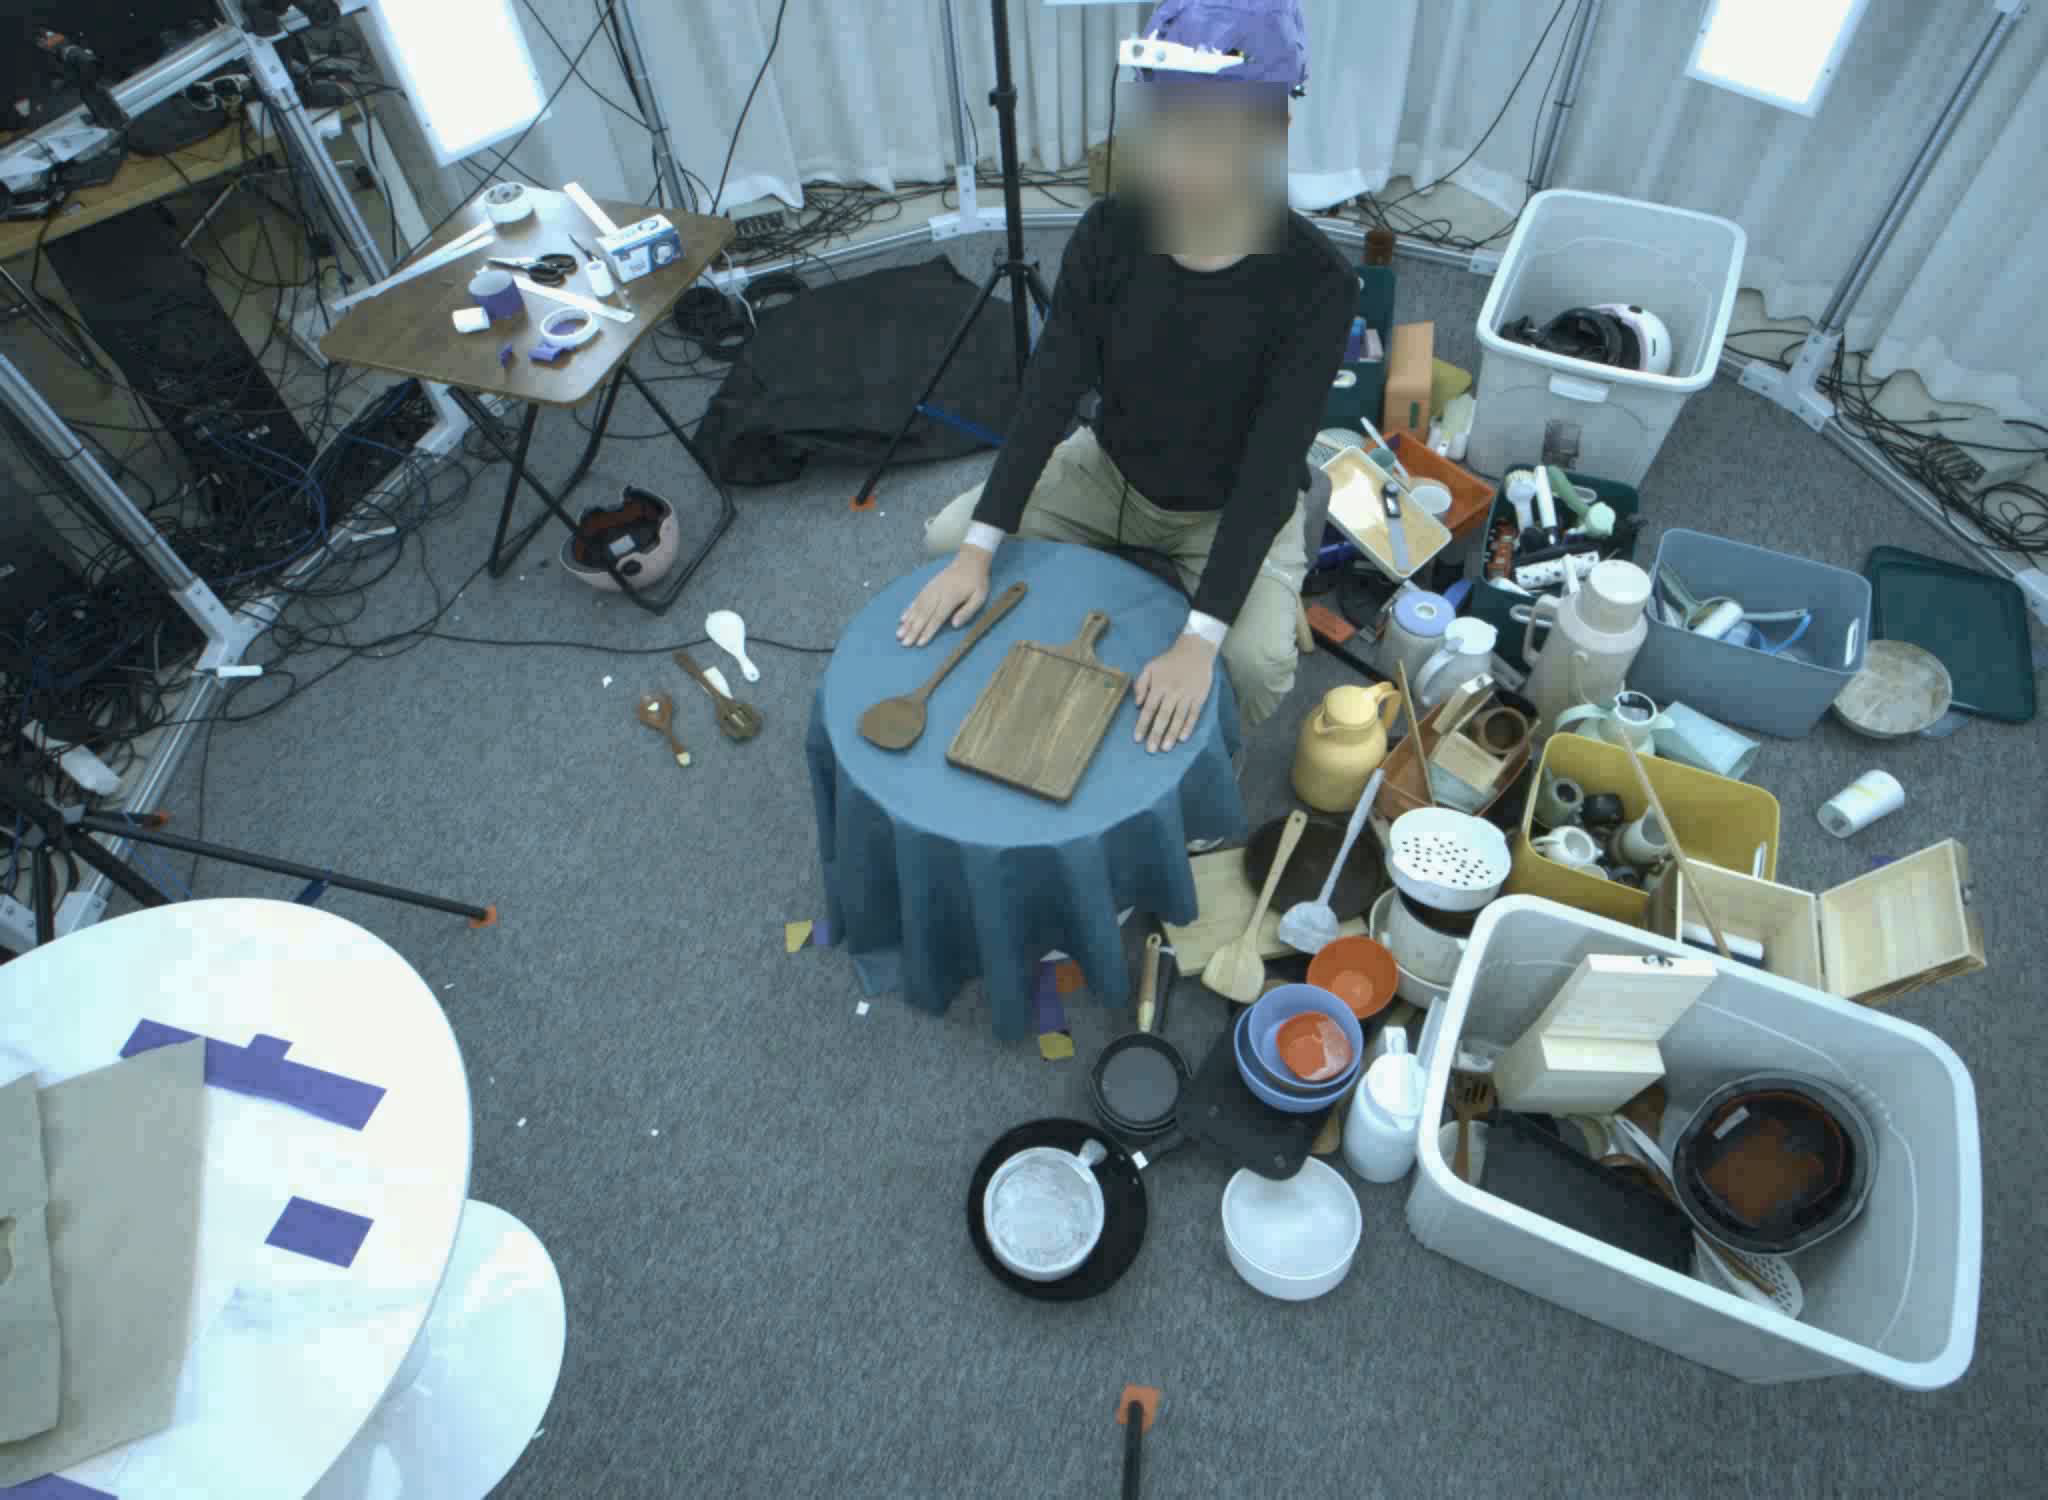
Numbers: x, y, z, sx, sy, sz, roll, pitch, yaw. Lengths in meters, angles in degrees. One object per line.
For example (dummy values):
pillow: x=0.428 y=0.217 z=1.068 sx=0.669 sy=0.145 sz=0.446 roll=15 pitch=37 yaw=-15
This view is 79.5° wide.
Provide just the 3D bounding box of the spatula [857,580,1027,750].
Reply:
spatula: x=-0.110 y=-0.141 z=1.882 sx=0.094 sy=0.016 sz=0.387 roll=29 pitch=60 yaw=20

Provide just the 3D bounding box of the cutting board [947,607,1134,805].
cutting board: x=0.047 y=-0.085 z=1.834 sx=0.199 sy=0.023 sz=0.352 roll=20 pitch=58 yaw=15
